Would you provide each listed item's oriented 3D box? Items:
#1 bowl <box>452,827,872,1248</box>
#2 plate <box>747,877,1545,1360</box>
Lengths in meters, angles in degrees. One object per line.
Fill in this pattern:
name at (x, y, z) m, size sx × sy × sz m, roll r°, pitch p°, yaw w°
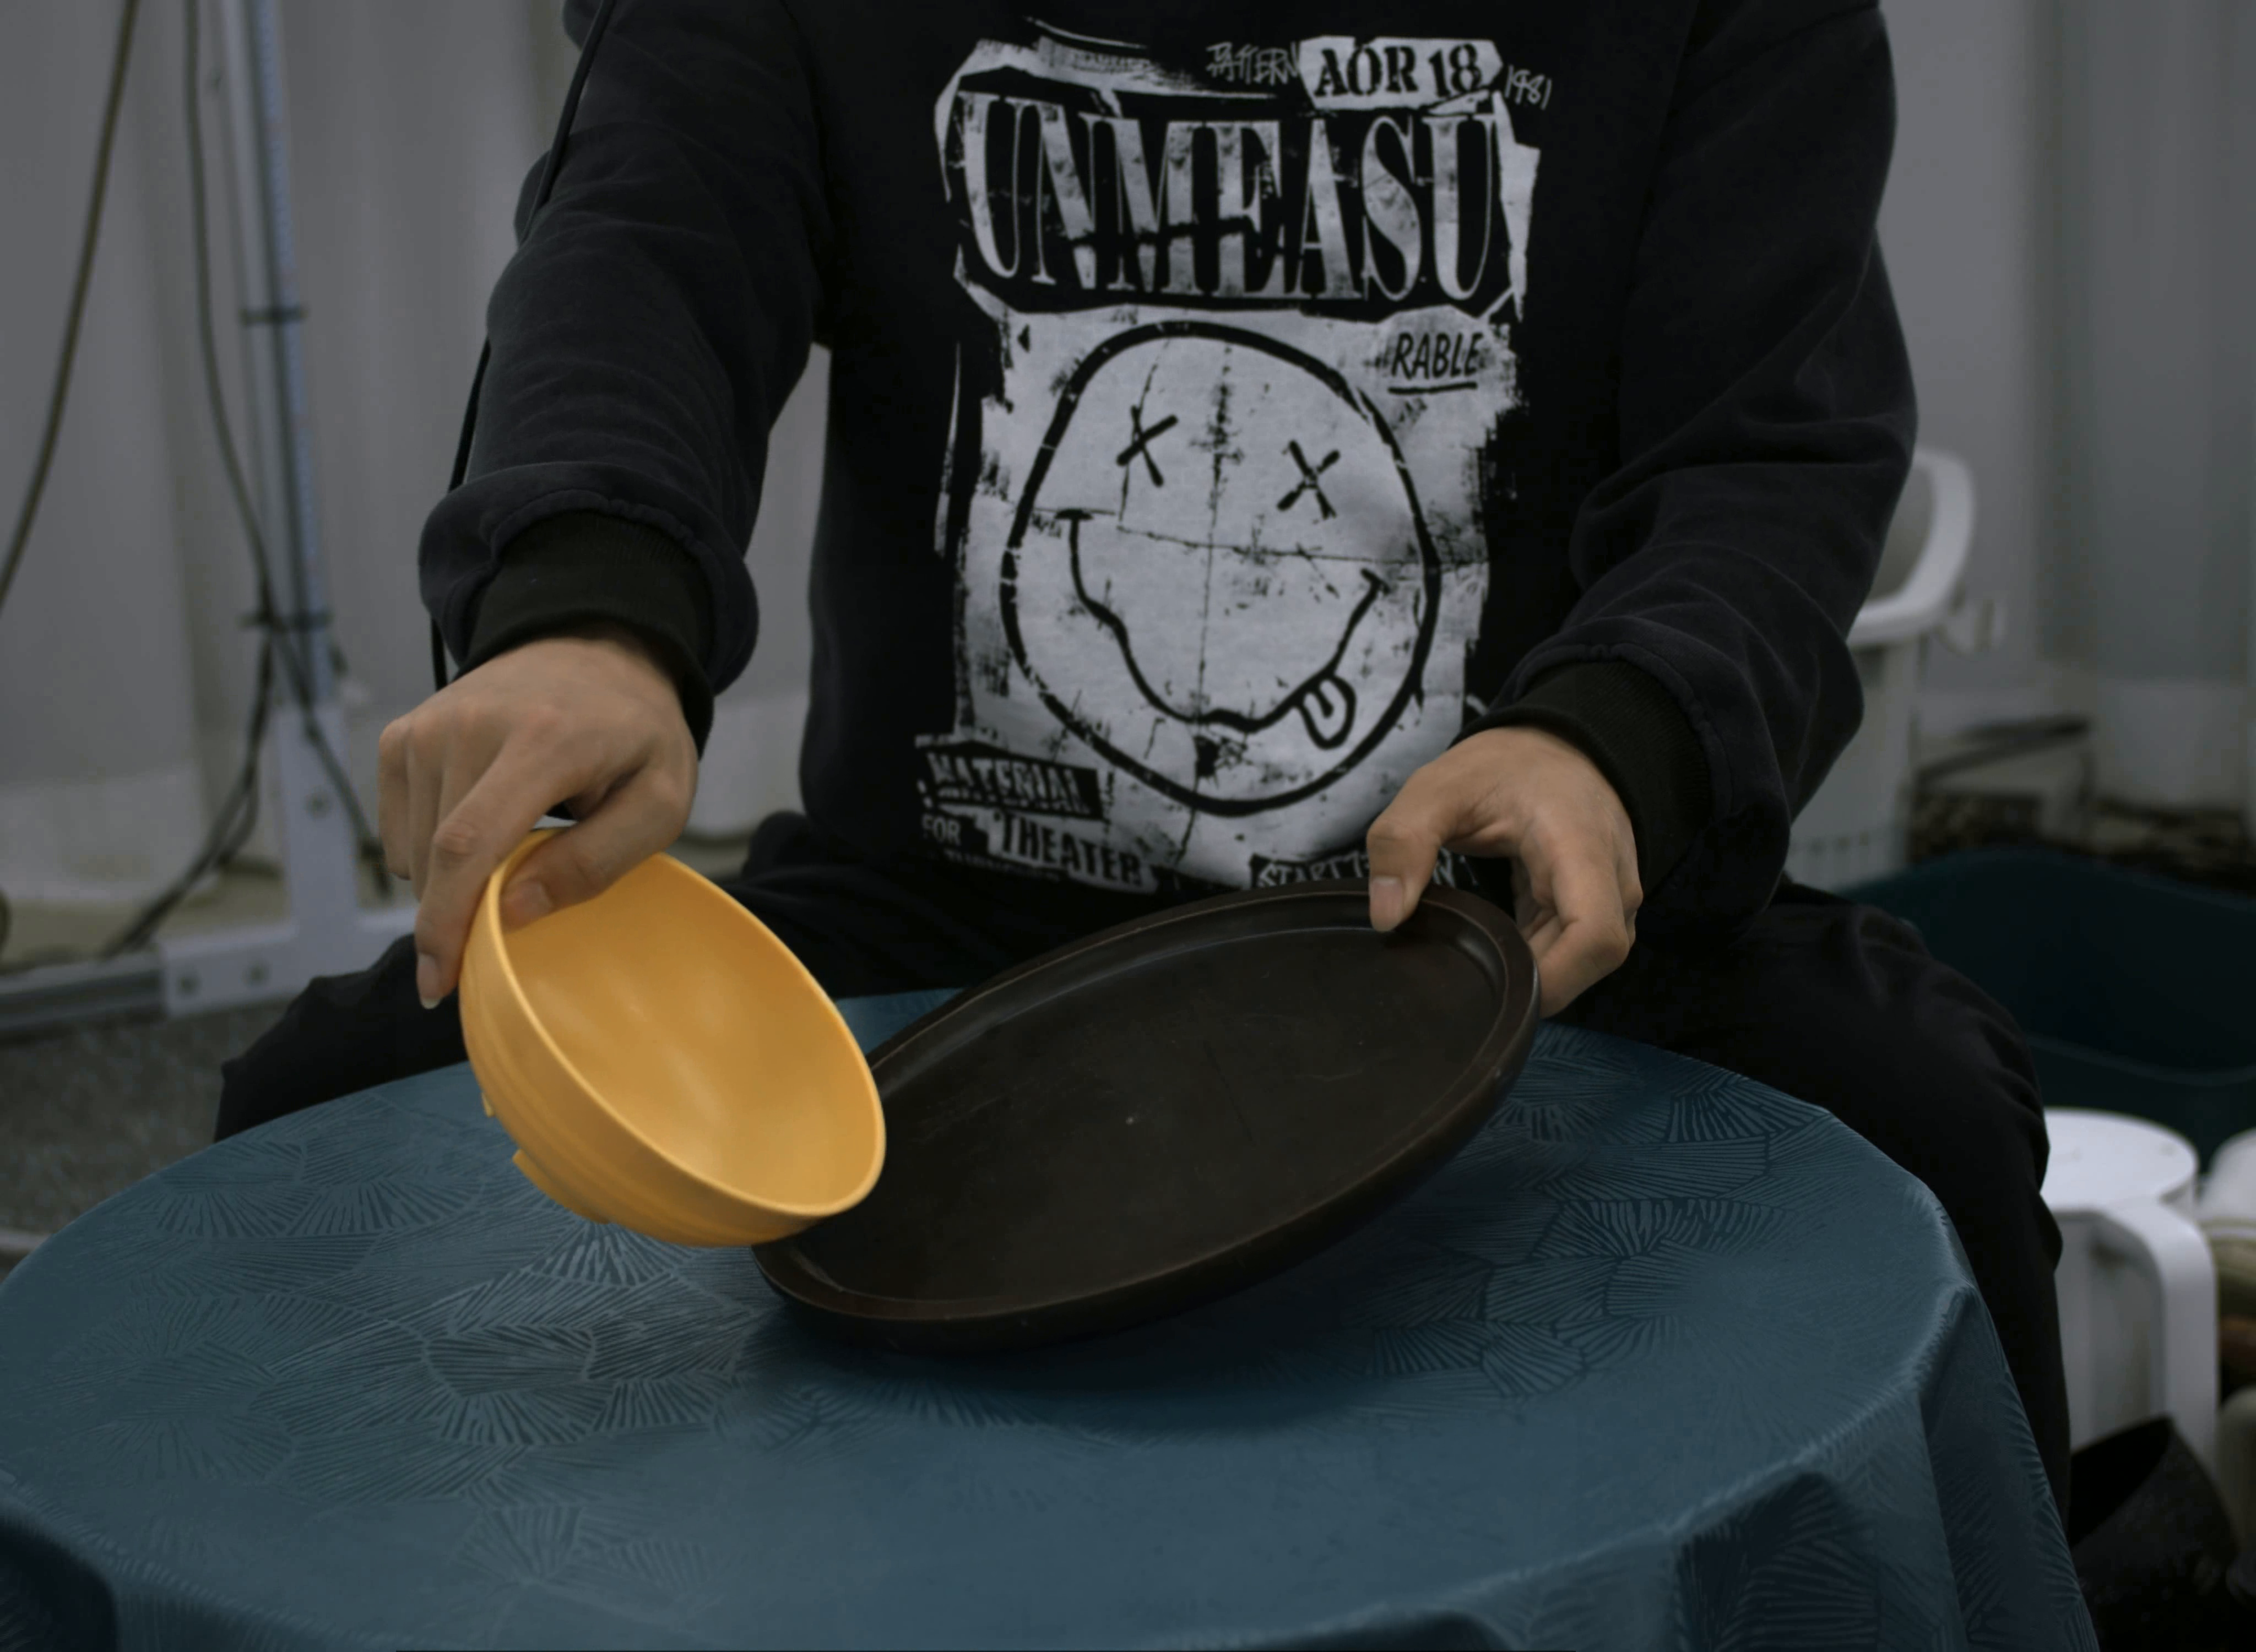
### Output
bowl at (-0.147, 0.074, 1.592) m, size 0.144 × 0.060 × 0.147 m, roll 37°, pitch 23°, yaw -19°
plate at (0.006, 0.086, 1.641) m, size 0.254 × 0.029 × 0.257 m, roll -19°, pitch 20°, yaw 7°
